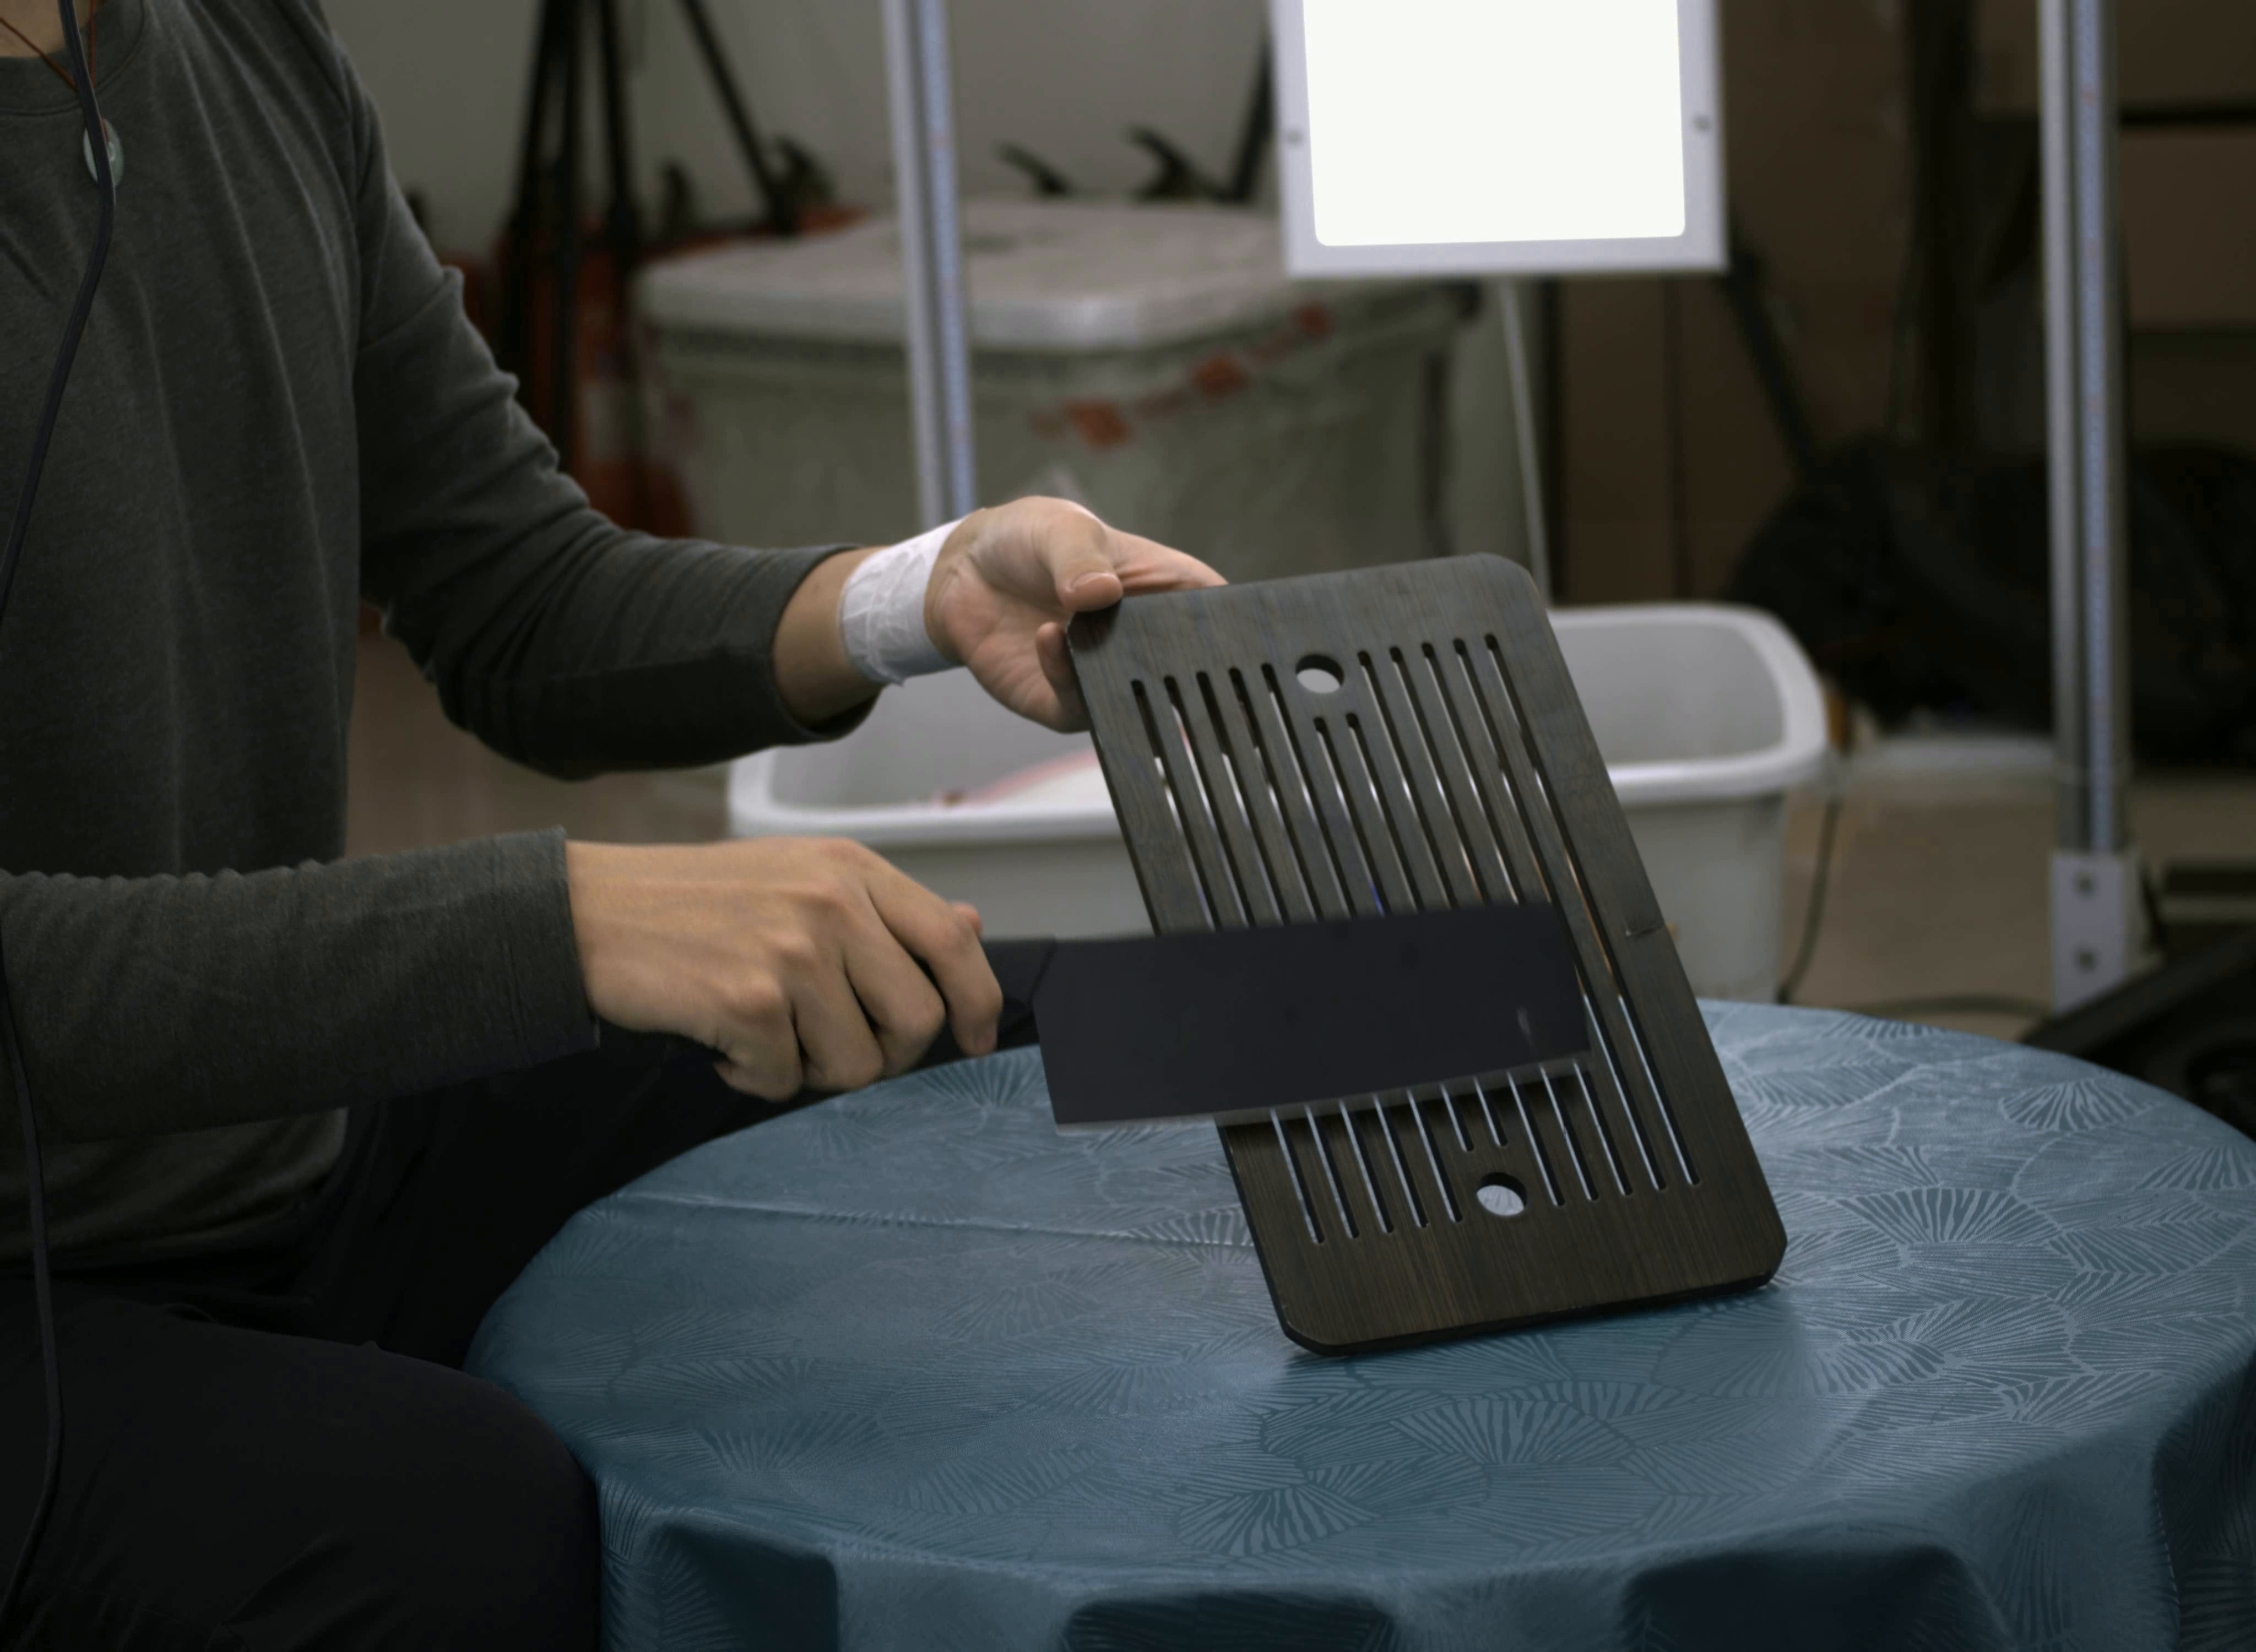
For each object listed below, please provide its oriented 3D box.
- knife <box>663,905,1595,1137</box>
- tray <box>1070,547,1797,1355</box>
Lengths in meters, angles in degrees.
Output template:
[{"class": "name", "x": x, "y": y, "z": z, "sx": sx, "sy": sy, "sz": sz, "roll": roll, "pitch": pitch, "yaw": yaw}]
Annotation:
[{"class": "knife", "x": 0.001, "y": 0.064, "z": 1.761, "sx": 0.299, "sy": 0.081, "sz": 0.021, "roll": -1, "pitch": -27, "yaw": -7}, {"class": "tray", "x": 0.097, "y": 0.036, "z": 1.817, "sx": 0.168, "sy": 0.019, "sz": 0.307, "roll": -9, "pitch": 54, "yaw": -11}]
